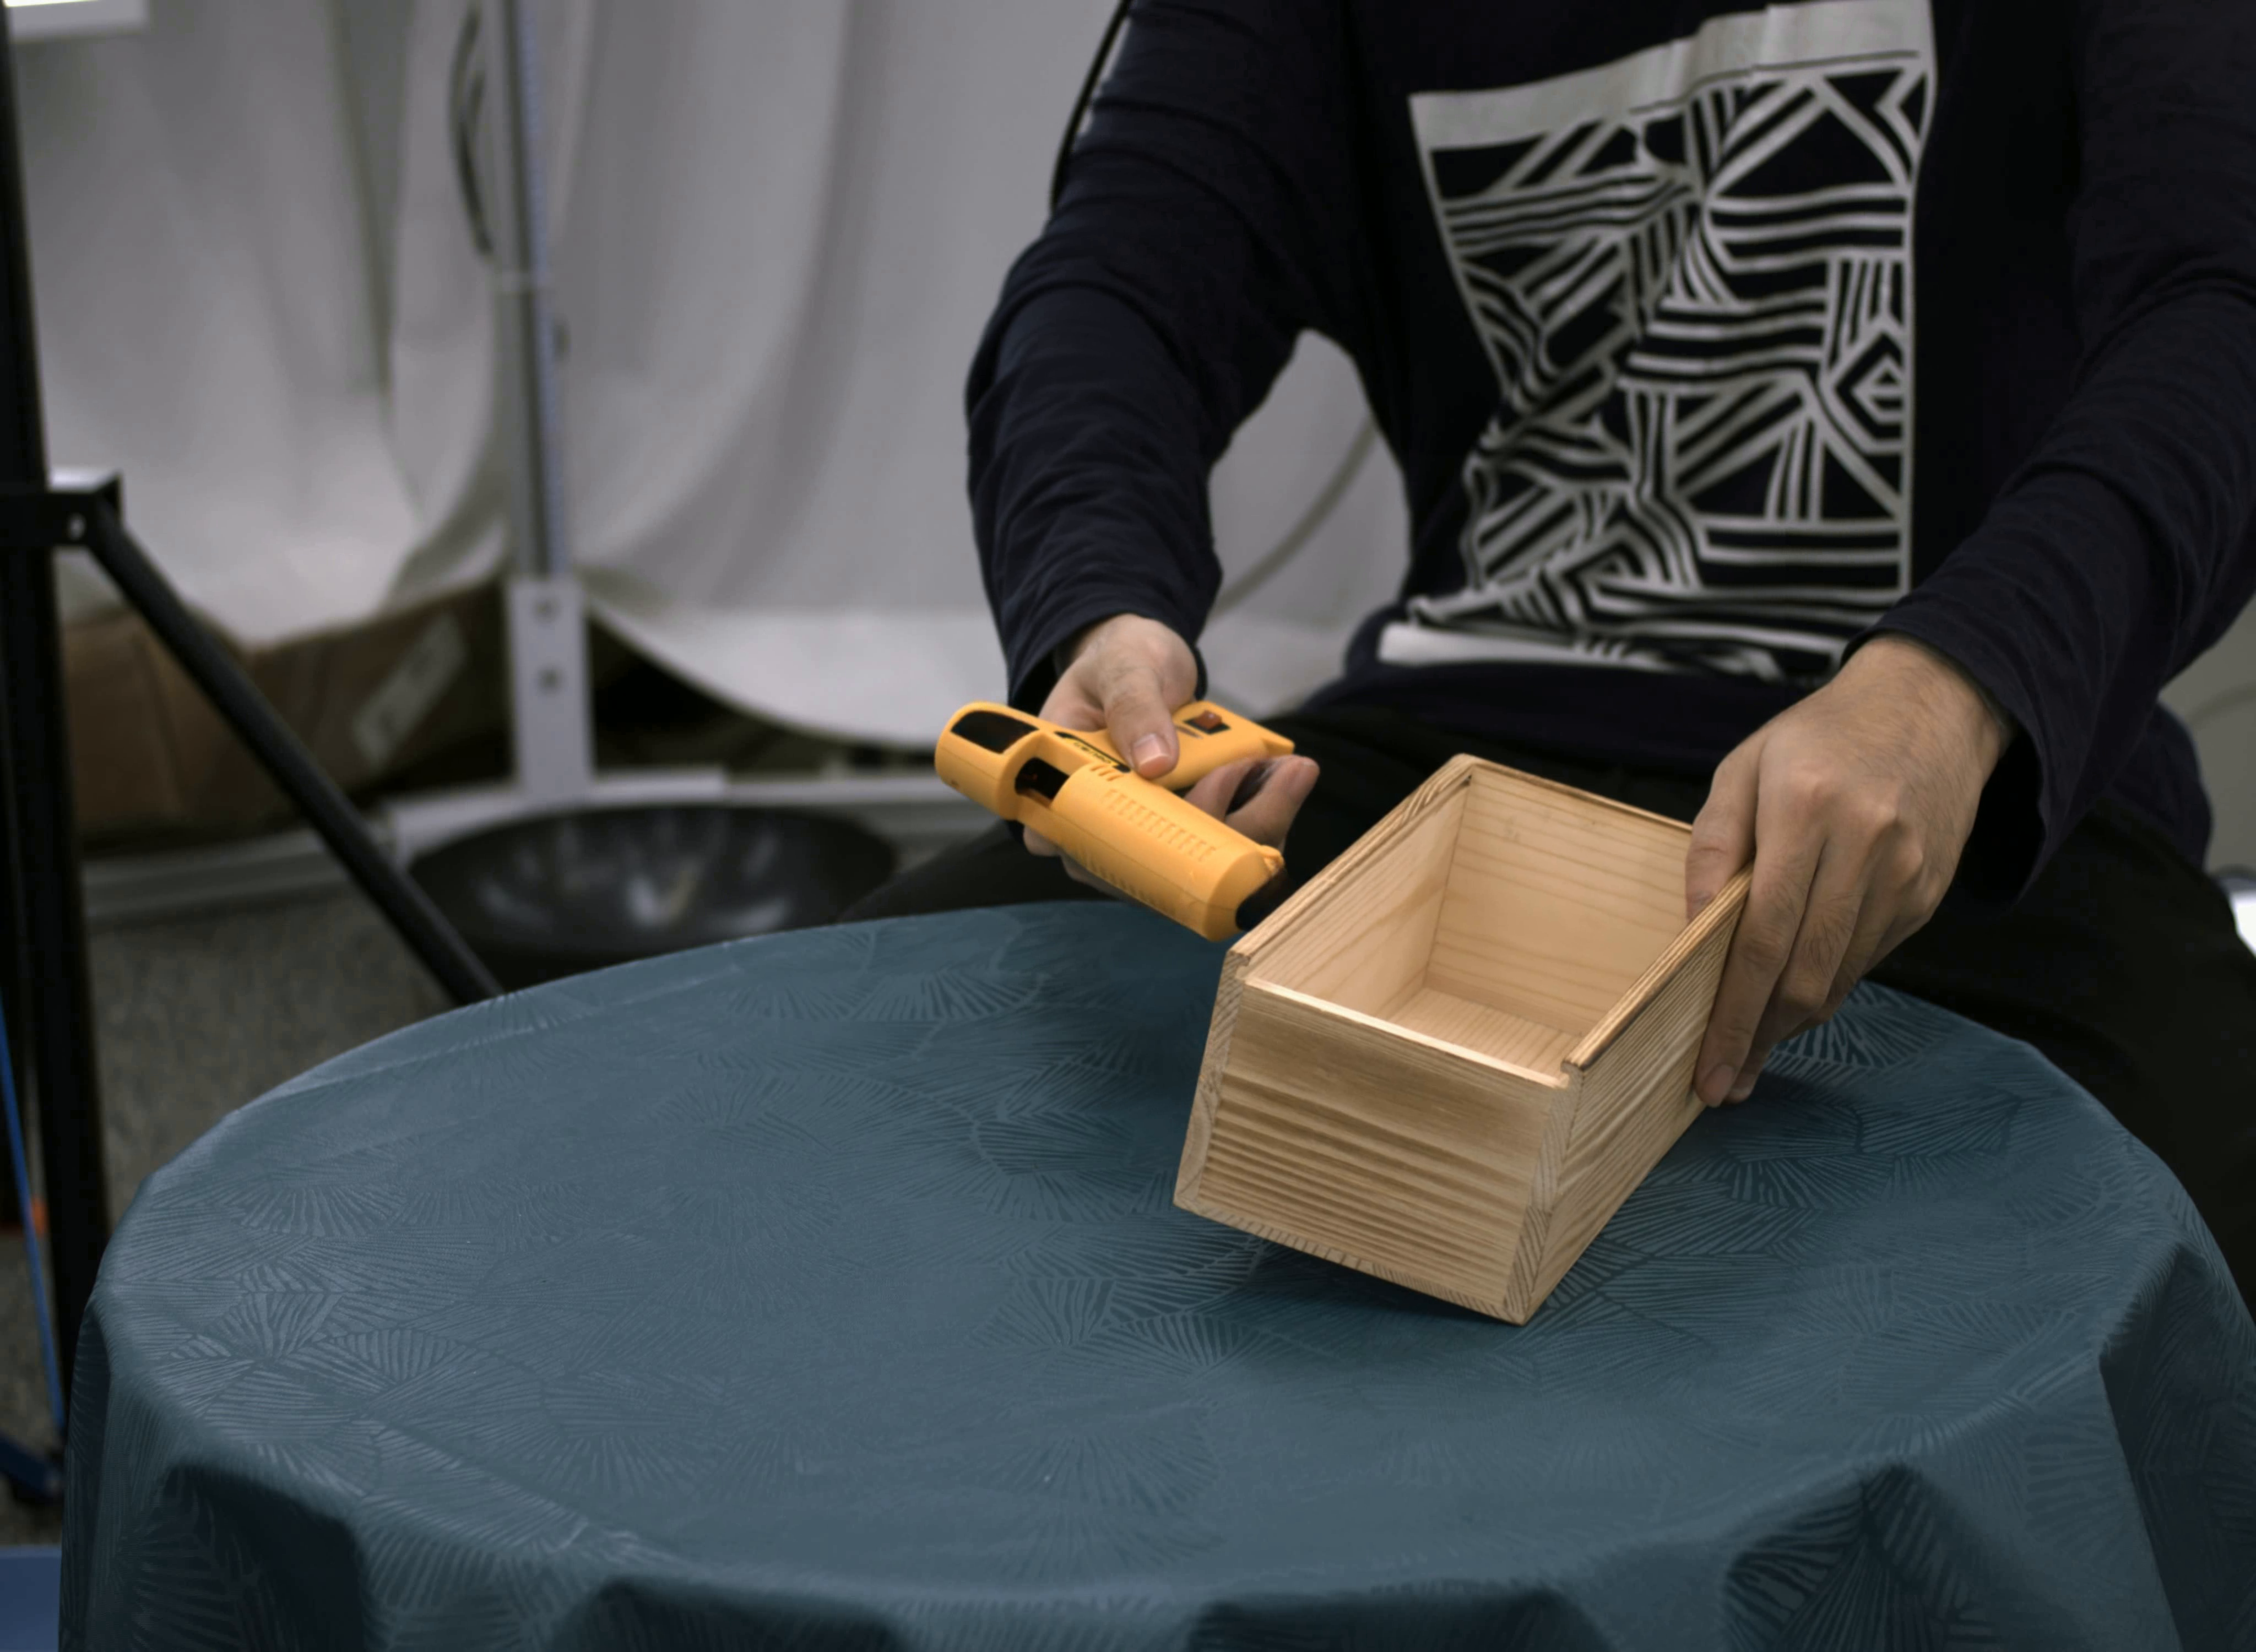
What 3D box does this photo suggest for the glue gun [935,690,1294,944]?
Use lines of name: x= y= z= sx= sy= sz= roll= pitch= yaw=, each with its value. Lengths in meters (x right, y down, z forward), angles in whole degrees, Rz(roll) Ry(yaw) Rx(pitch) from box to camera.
glue gun: x=0.032 y=0.005 z=1.628 sx=0.129 sy=0.031 sz=0.155 roll=2 pitch=25 yaw=-48

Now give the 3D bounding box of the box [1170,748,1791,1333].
box: x=0.105 y=0.057 z=1.529 sx=0.109 sy=0.080 sz=0.208 roll=19 pitch=22 yaw=17
